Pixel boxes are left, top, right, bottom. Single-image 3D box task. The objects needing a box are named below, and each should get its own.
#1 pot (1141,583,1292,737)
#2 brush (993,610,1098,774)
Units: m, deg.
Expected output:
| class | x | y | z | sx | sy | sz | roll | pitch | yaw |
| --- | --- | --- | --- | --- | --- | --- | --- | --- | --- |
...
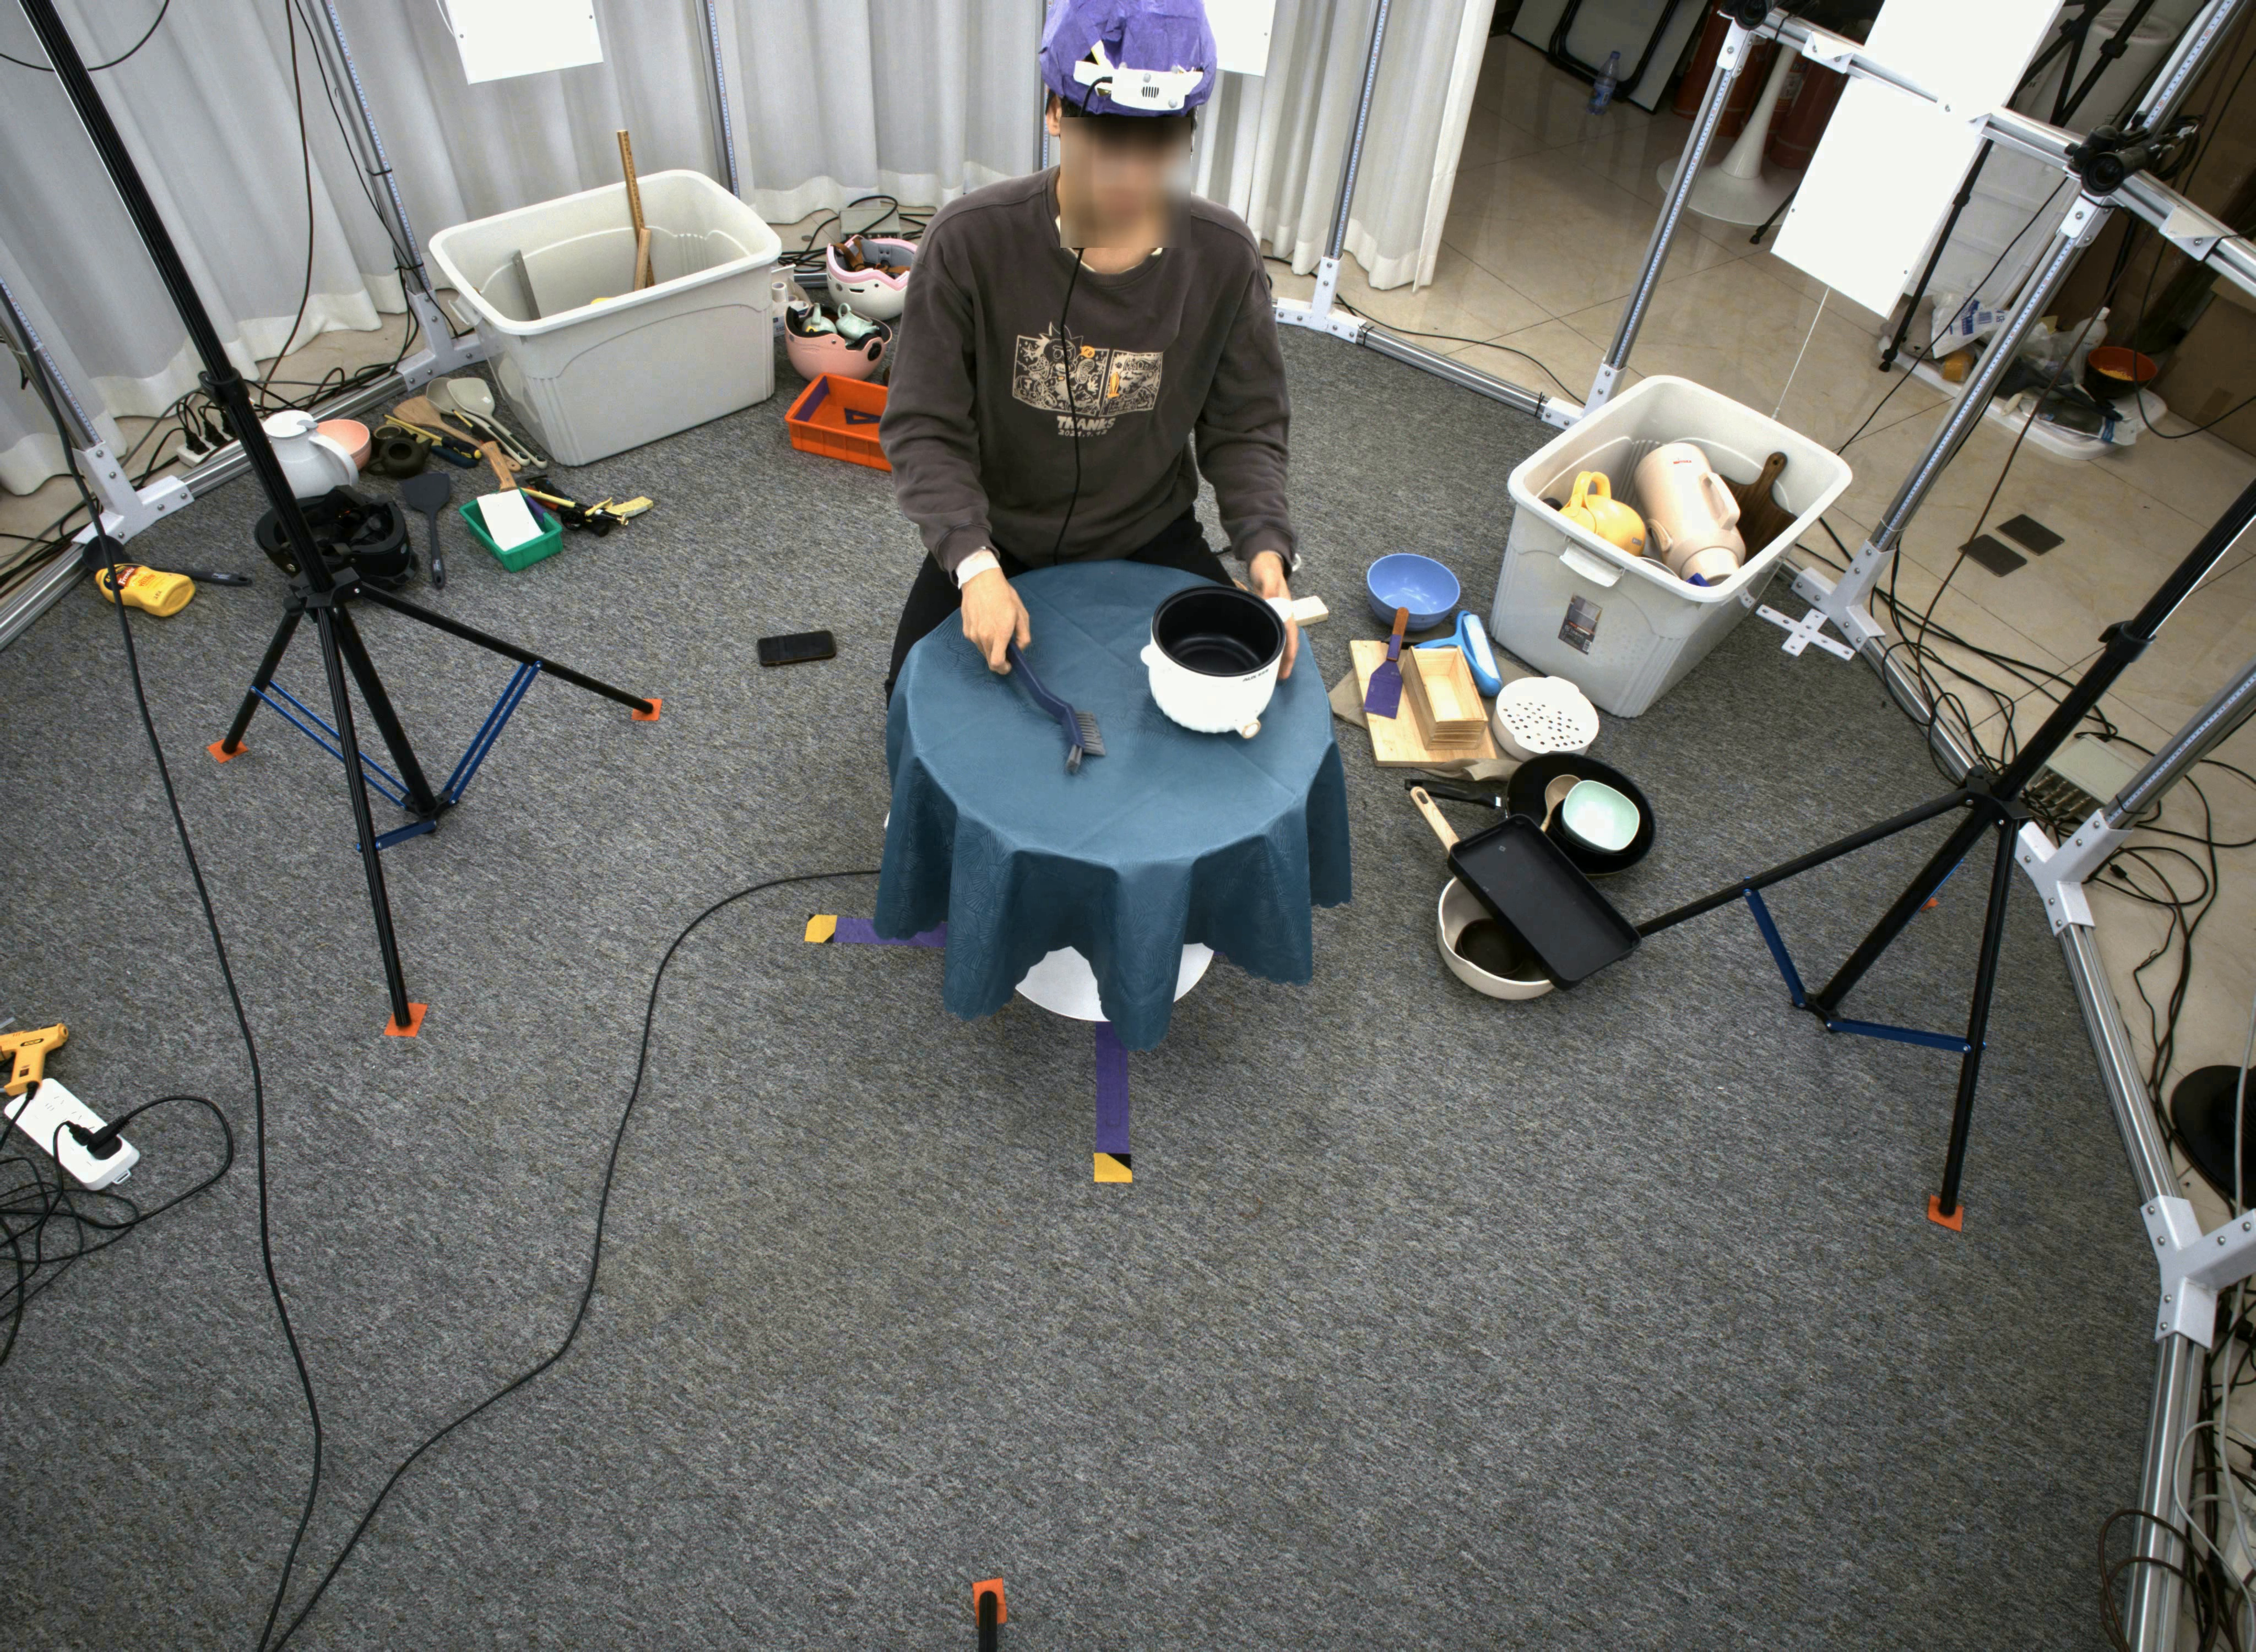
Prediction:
| class | x | y | z | sx | sy | sz | roll | pitch | yaw |
| --- | --- | --- | --- | --- | --- | --- | --- | --- | --- |
| pot | 0.123 | -0.222 | 1.776 | 0.241 | 0.139 | 0.194 | -25 | 52 | -21 |
| brush | -0.130 | -0.190 | 1.781 | 0.096 | 0.033 | 0.277 | -23 | 63 | -36 |
